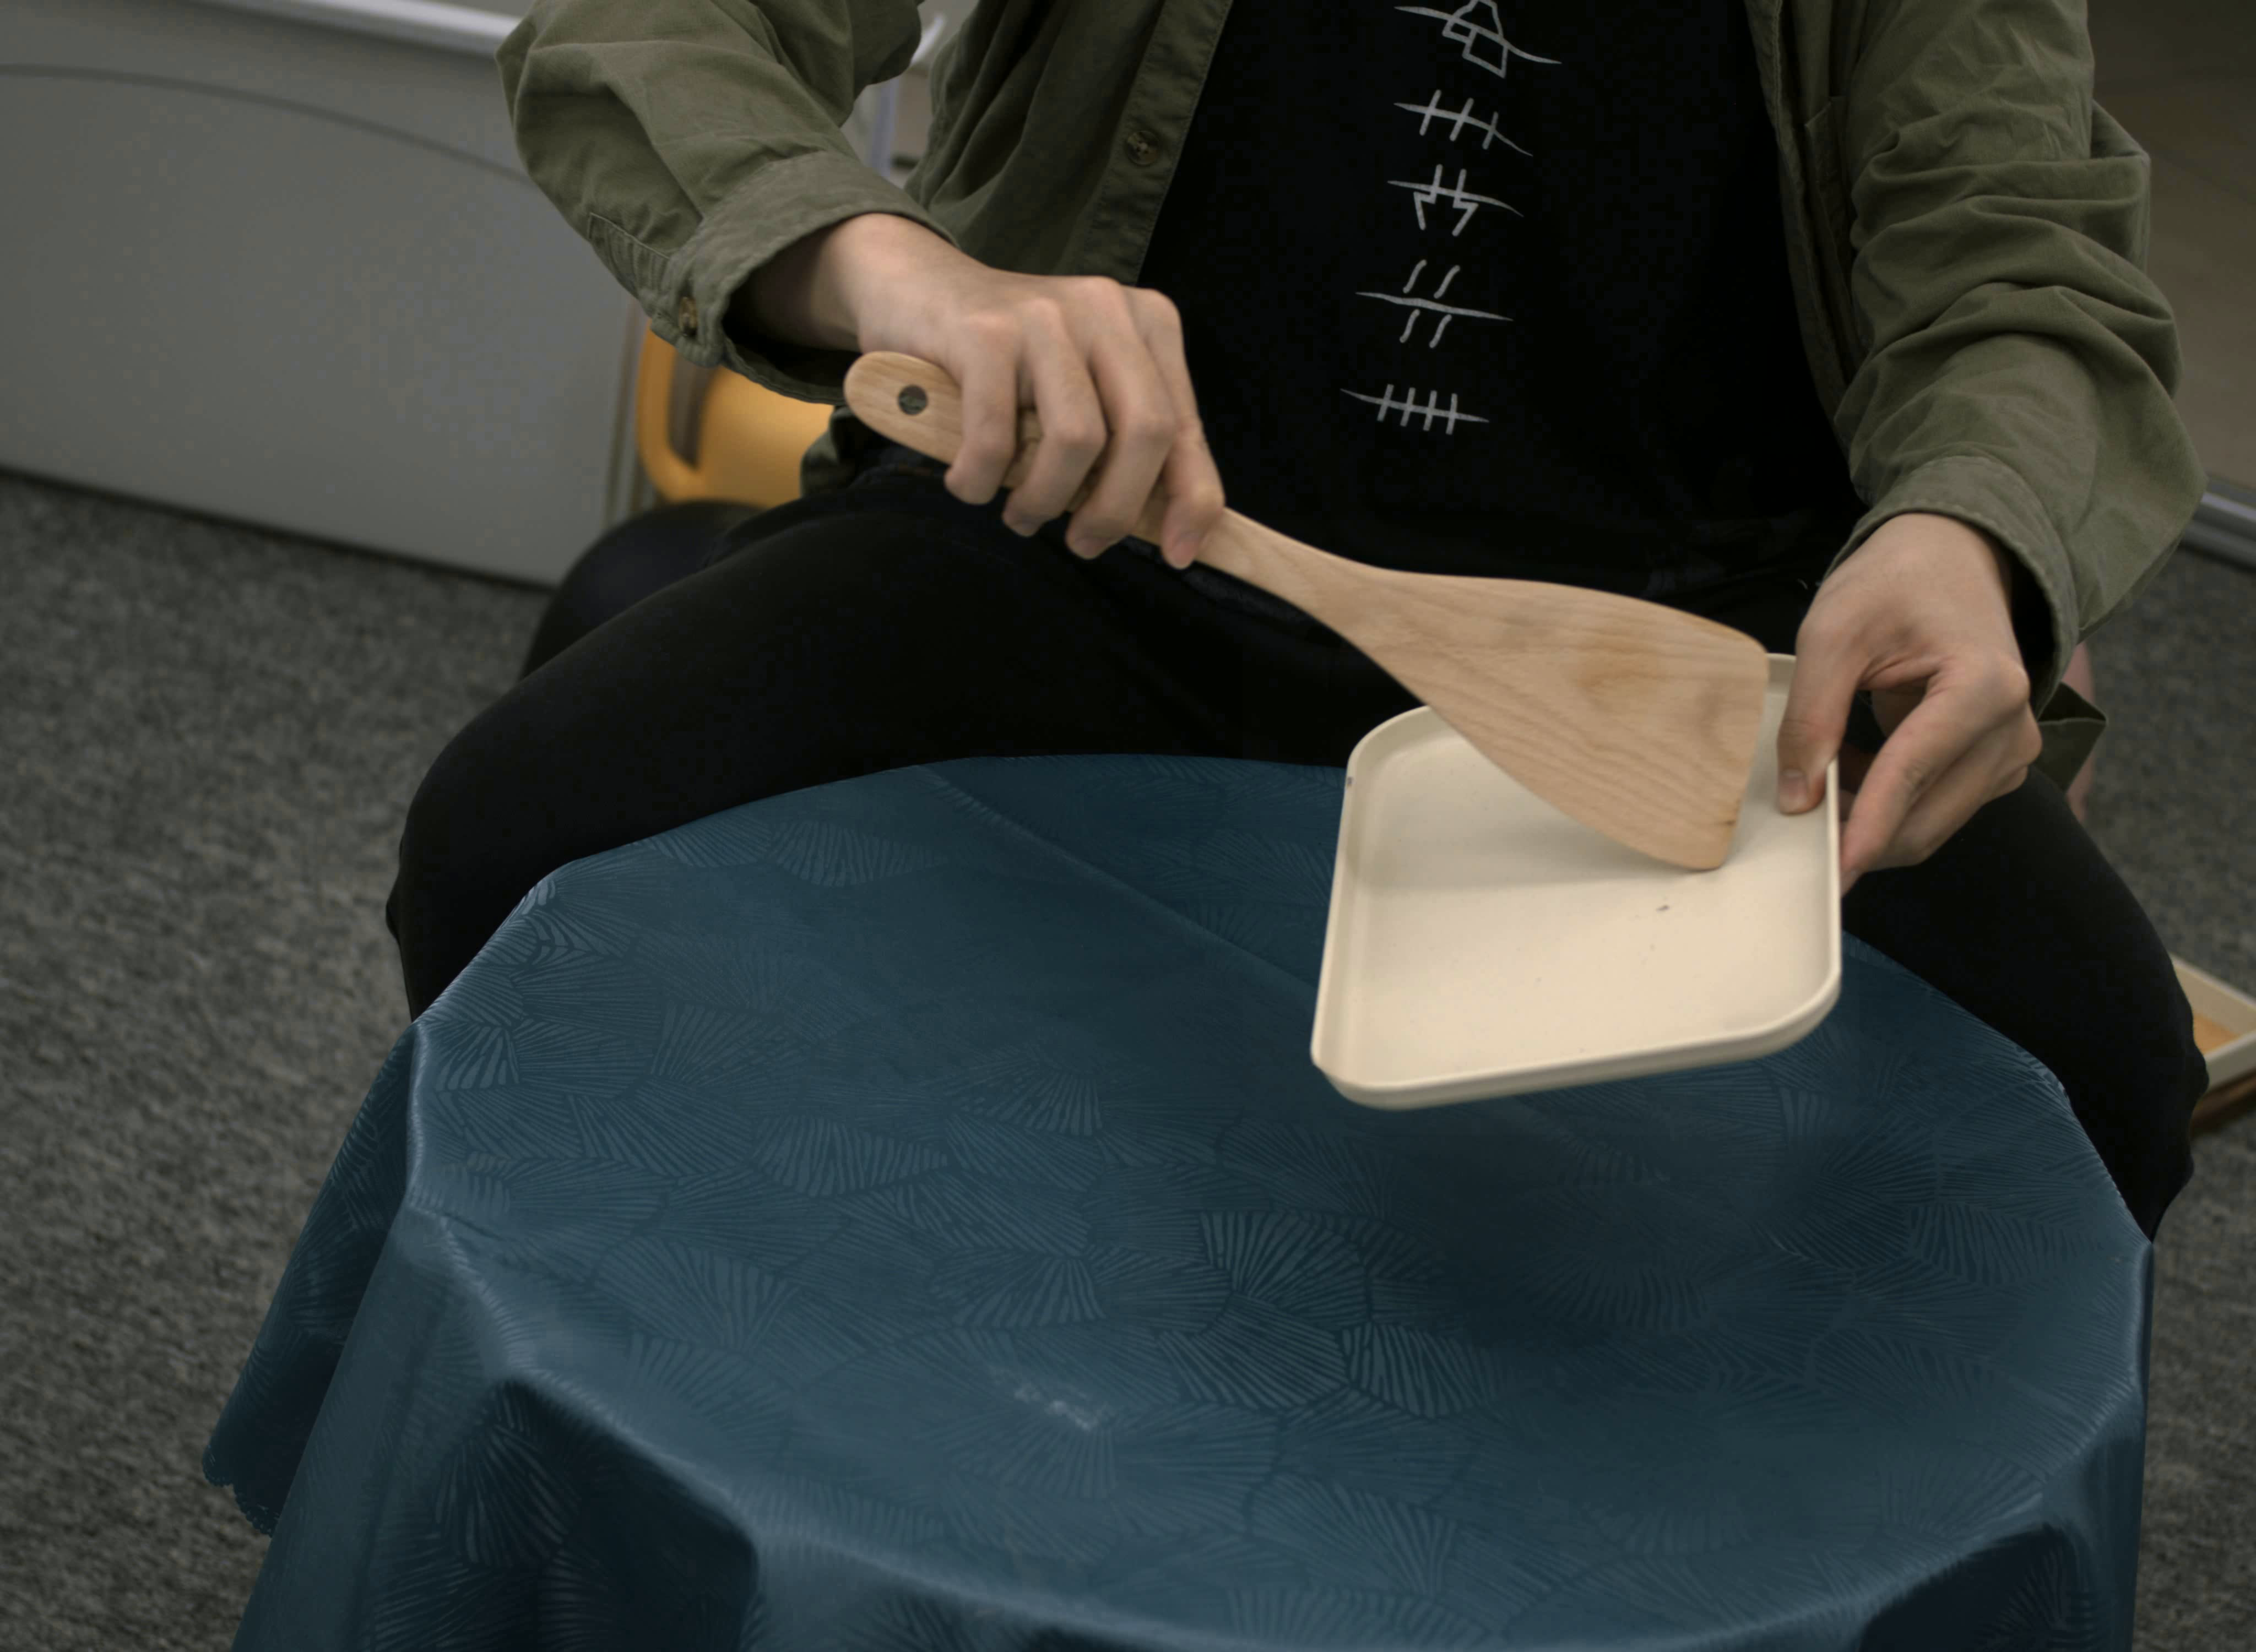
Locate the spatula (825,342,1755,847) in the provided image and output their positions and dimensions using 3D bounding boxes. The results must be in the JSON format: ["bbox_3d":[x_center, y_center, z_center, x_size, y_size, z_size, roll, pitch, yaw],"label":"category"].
[{"bbox_3d":[0.053,-0.088,1.743,0.327,0.080,0.016,23,2,-1],"label":"spatula"}]

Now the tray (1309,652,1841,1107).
[{"bbox_3d":[0.149,0.017,1.742,0.171,0.017,0.241,-9,29,12],"label":"tray"}]
